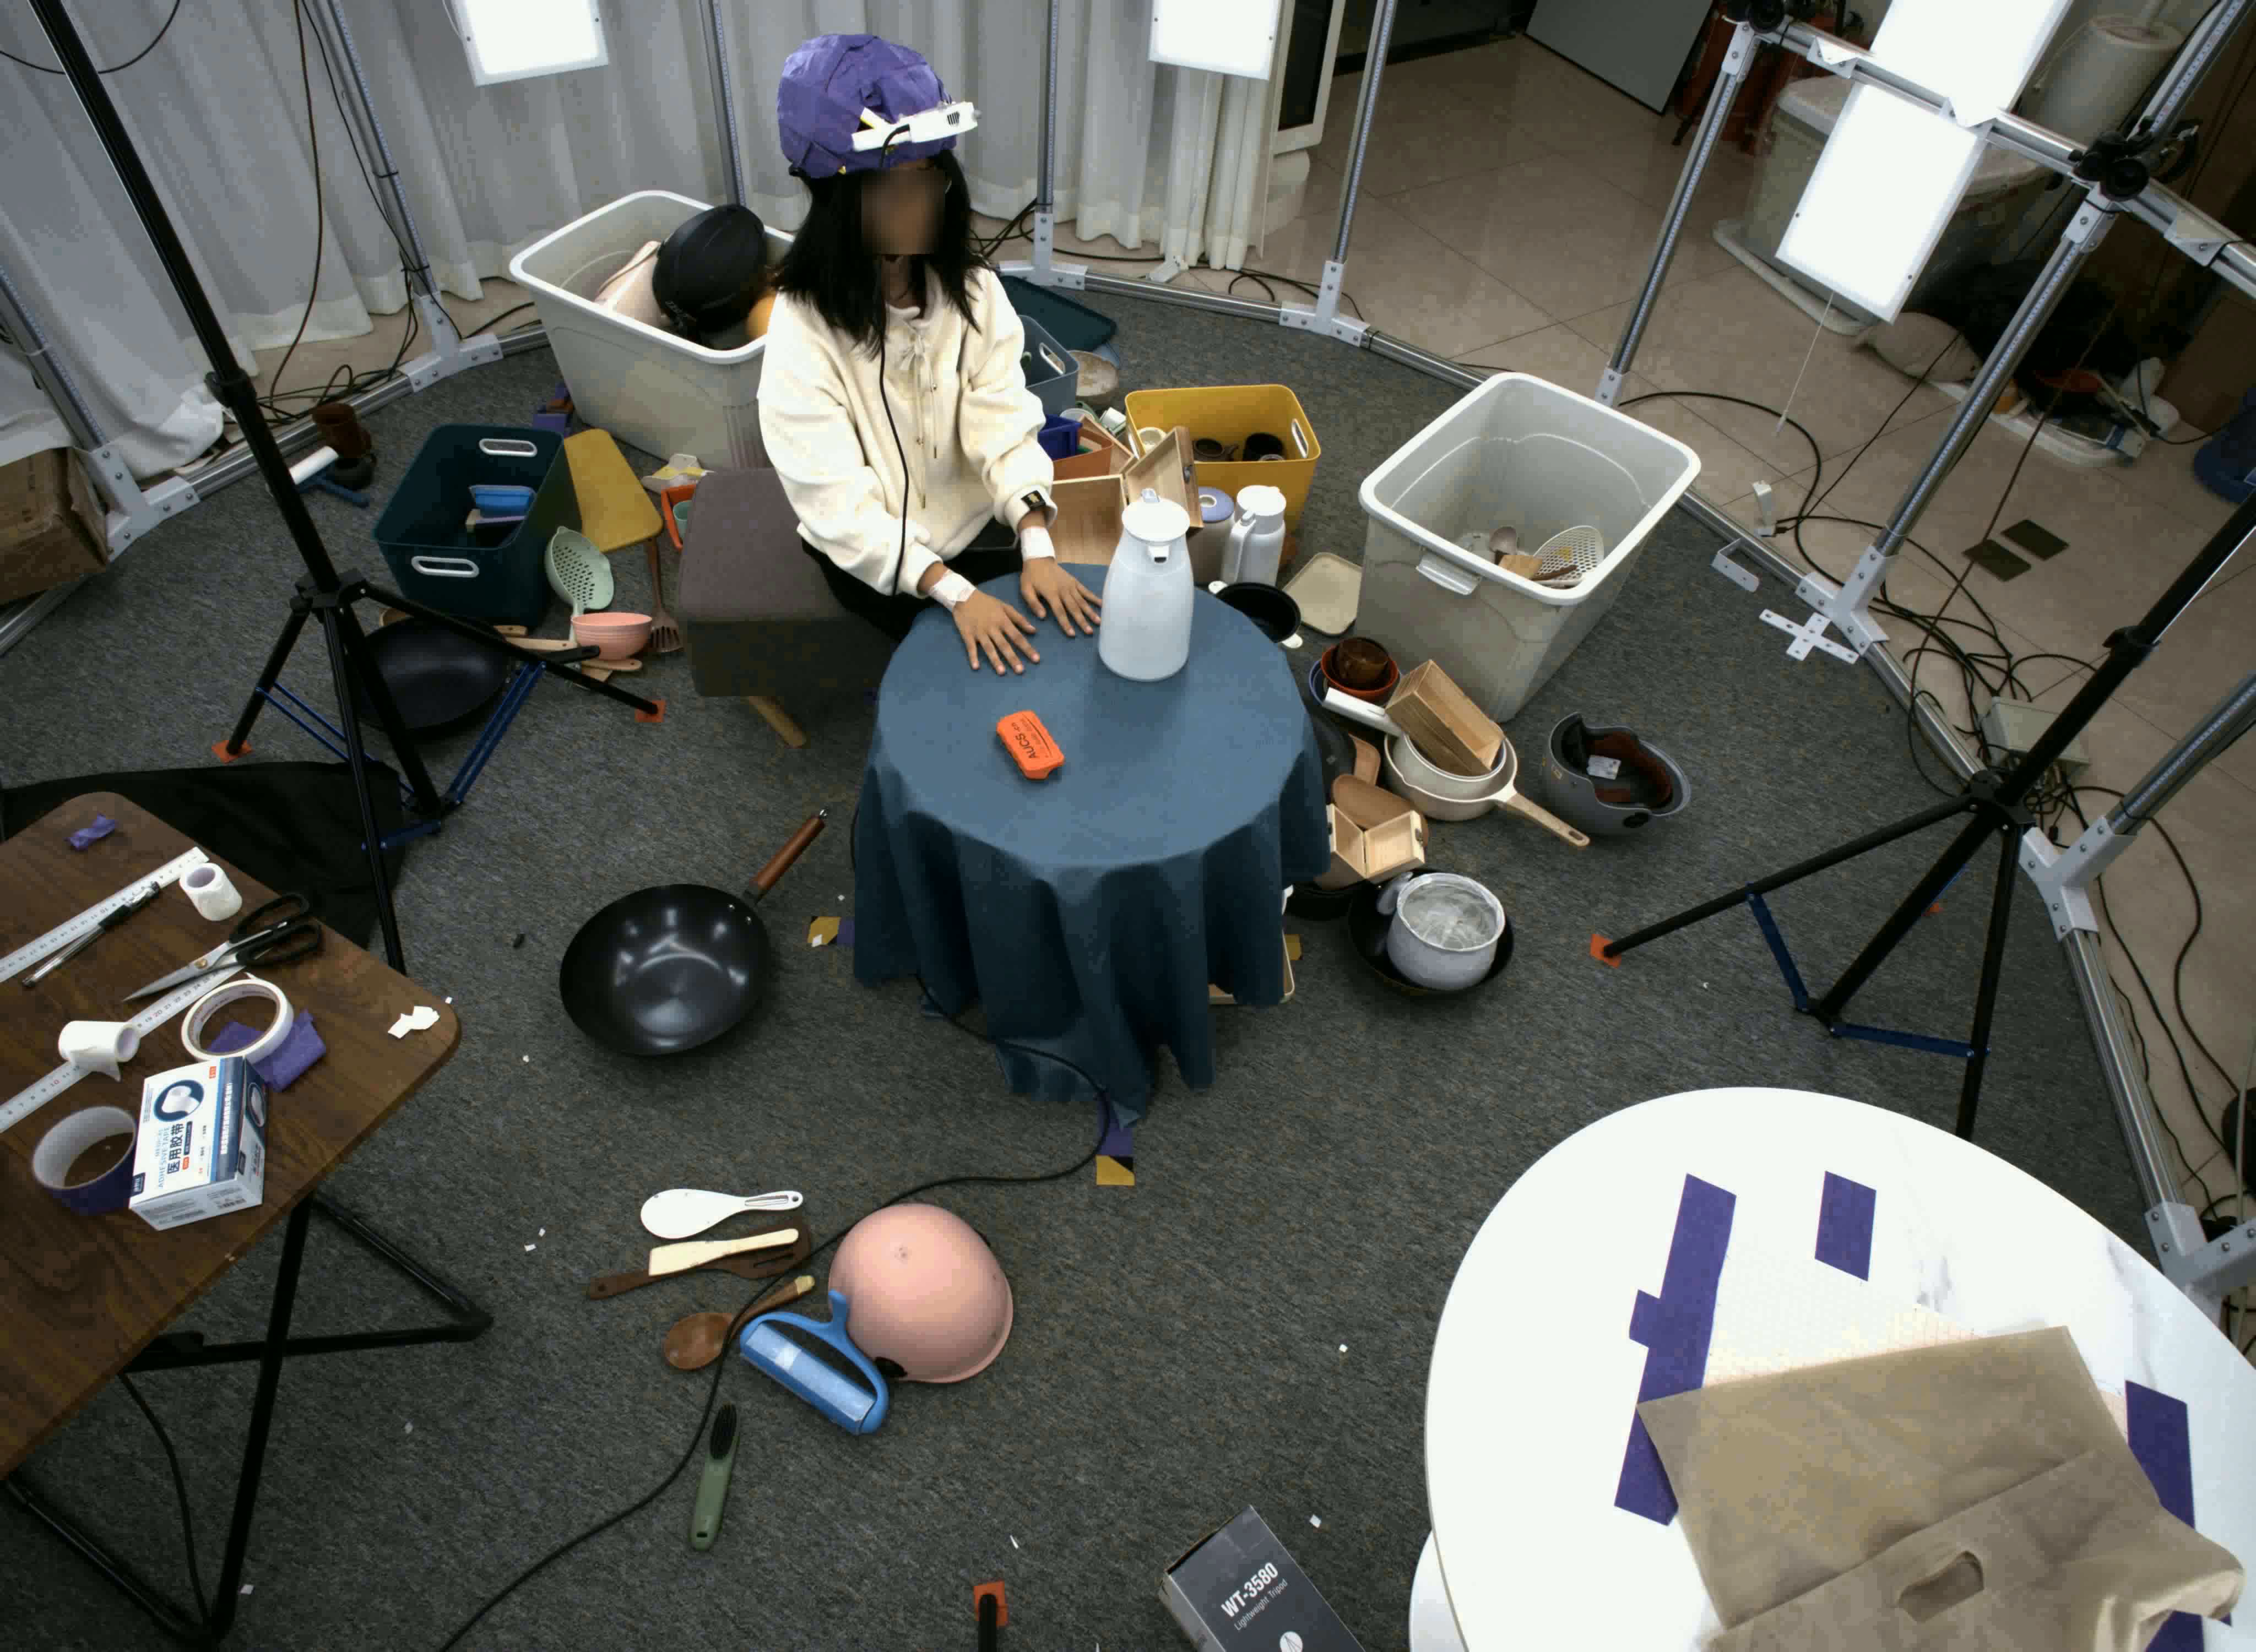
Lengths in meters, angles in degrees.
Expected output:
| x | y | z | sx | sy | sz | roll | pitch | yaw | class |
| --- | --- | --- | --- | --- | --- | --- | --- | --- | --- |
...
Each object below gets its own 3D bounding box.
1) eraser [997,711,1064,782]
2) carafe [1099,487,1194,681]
| x | y | z | sx | sy | sz | roll | pitch | yaw | class |
| --- | --- | --- | --- | --- | --- | --- | --- | --- | --- |
| -0.133 | -0.109 | 1.741 | 0.059 | 0.022 | 0.110 | -18 | 53 | -22 | eraser |
| 0.026 | -0.352 | 1.817 | 0.132 | 0.242 | 0.172 | -4 | 49 | -7 | carafe |
